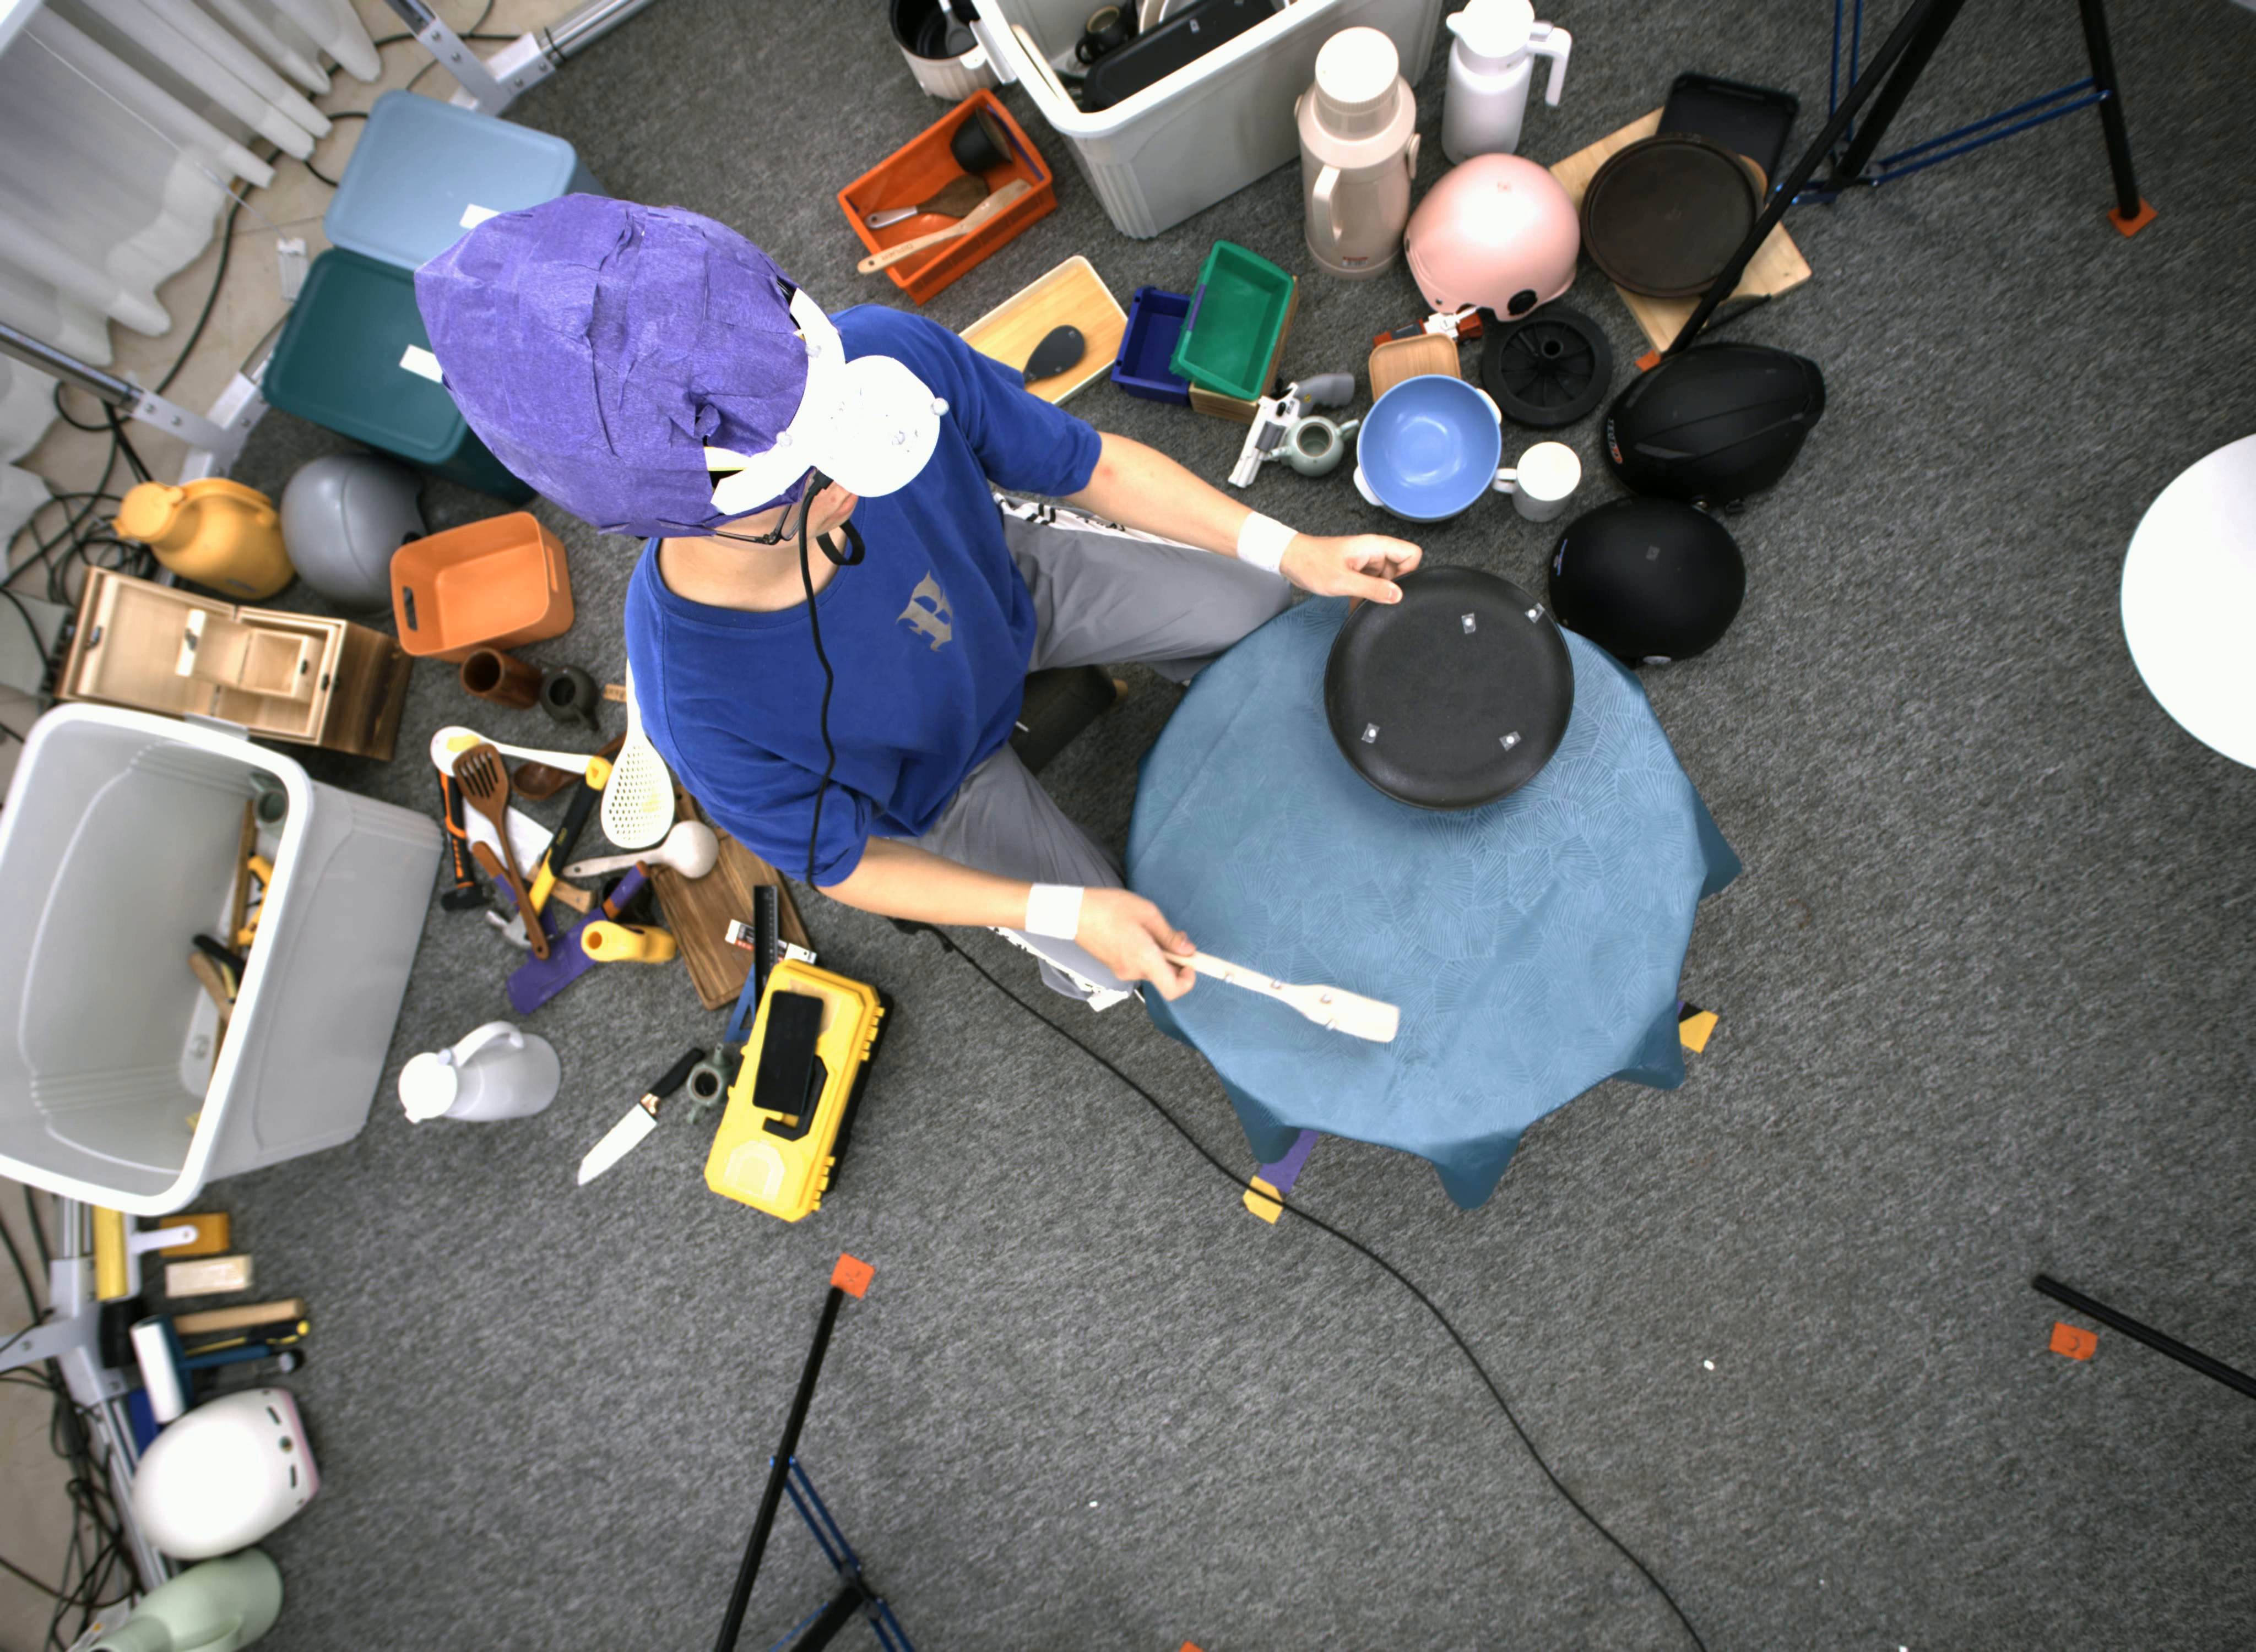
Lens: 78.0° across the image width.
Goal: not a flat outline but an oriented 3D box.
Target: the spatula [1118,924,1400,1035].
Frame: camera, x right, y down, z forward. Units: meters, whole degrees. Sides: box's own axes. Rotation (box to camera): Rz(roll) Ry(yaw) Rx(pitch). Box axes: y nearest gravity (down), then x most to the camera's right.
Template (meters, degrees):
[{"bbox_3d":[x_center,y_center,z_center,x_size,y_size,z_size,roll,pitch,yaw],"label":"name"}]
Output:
[{"bbox_3d":[0.129,0.150,1.392,0.293,0.071,0.011,18,114,9],"label":"spatula"}]

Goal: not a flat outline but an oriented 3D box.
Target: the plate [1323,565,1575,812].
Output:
[{"bbox_3d":[0.316,-0.137,1.359,0.245,0.023,0.246,2,102,13],"label":"plate"}]
